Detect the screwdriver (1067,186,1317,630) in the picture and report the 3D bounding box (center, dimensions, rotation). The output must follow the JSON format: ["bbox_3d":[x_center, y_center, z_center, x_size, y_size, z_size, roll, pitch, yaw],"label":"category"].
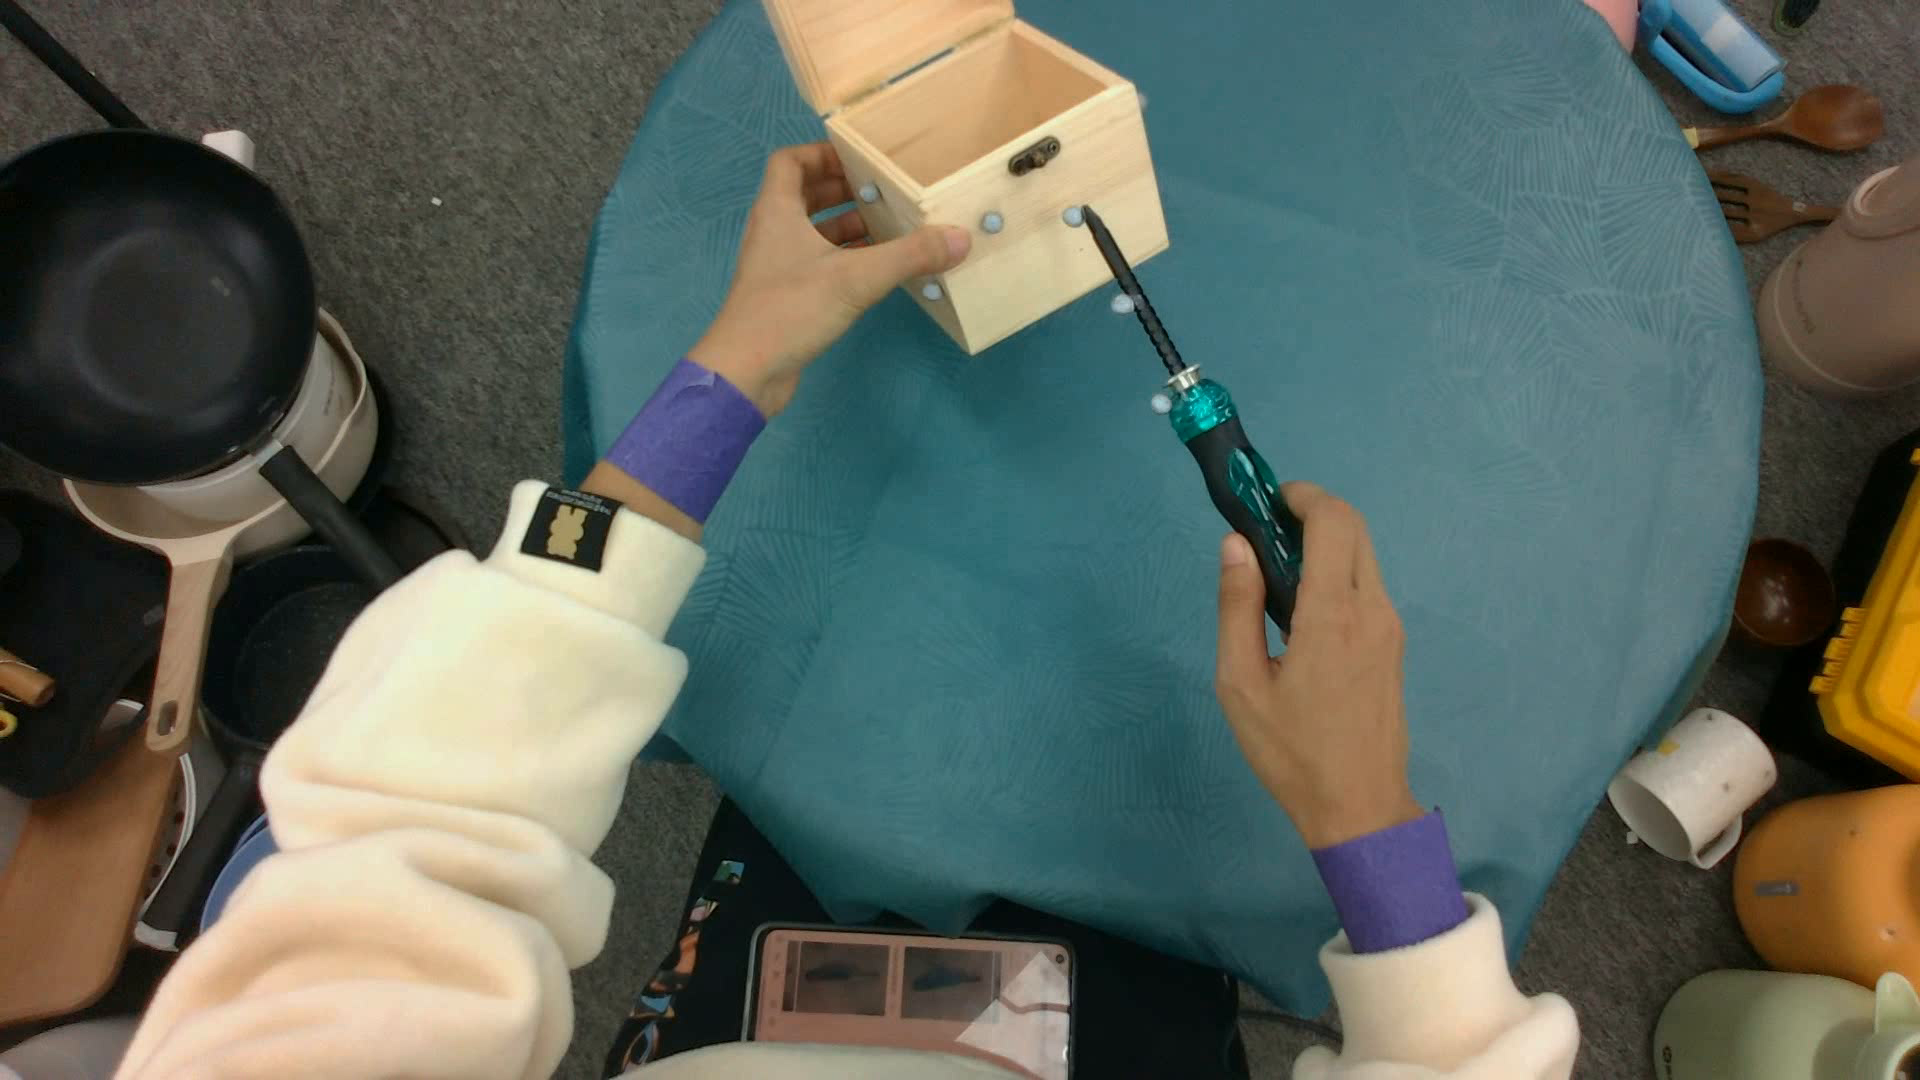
[{"bbox_3d":[0.087,-0.053,0.536,0.034,0.033,0.190,-27,91,-9],"label":"screwdriver"}]

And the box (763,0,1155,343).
[{"bbox_3d":[-0.008,-0.201,0.573,0.103,0.184,0.134,-29,41,-8],"label":"box"}]
